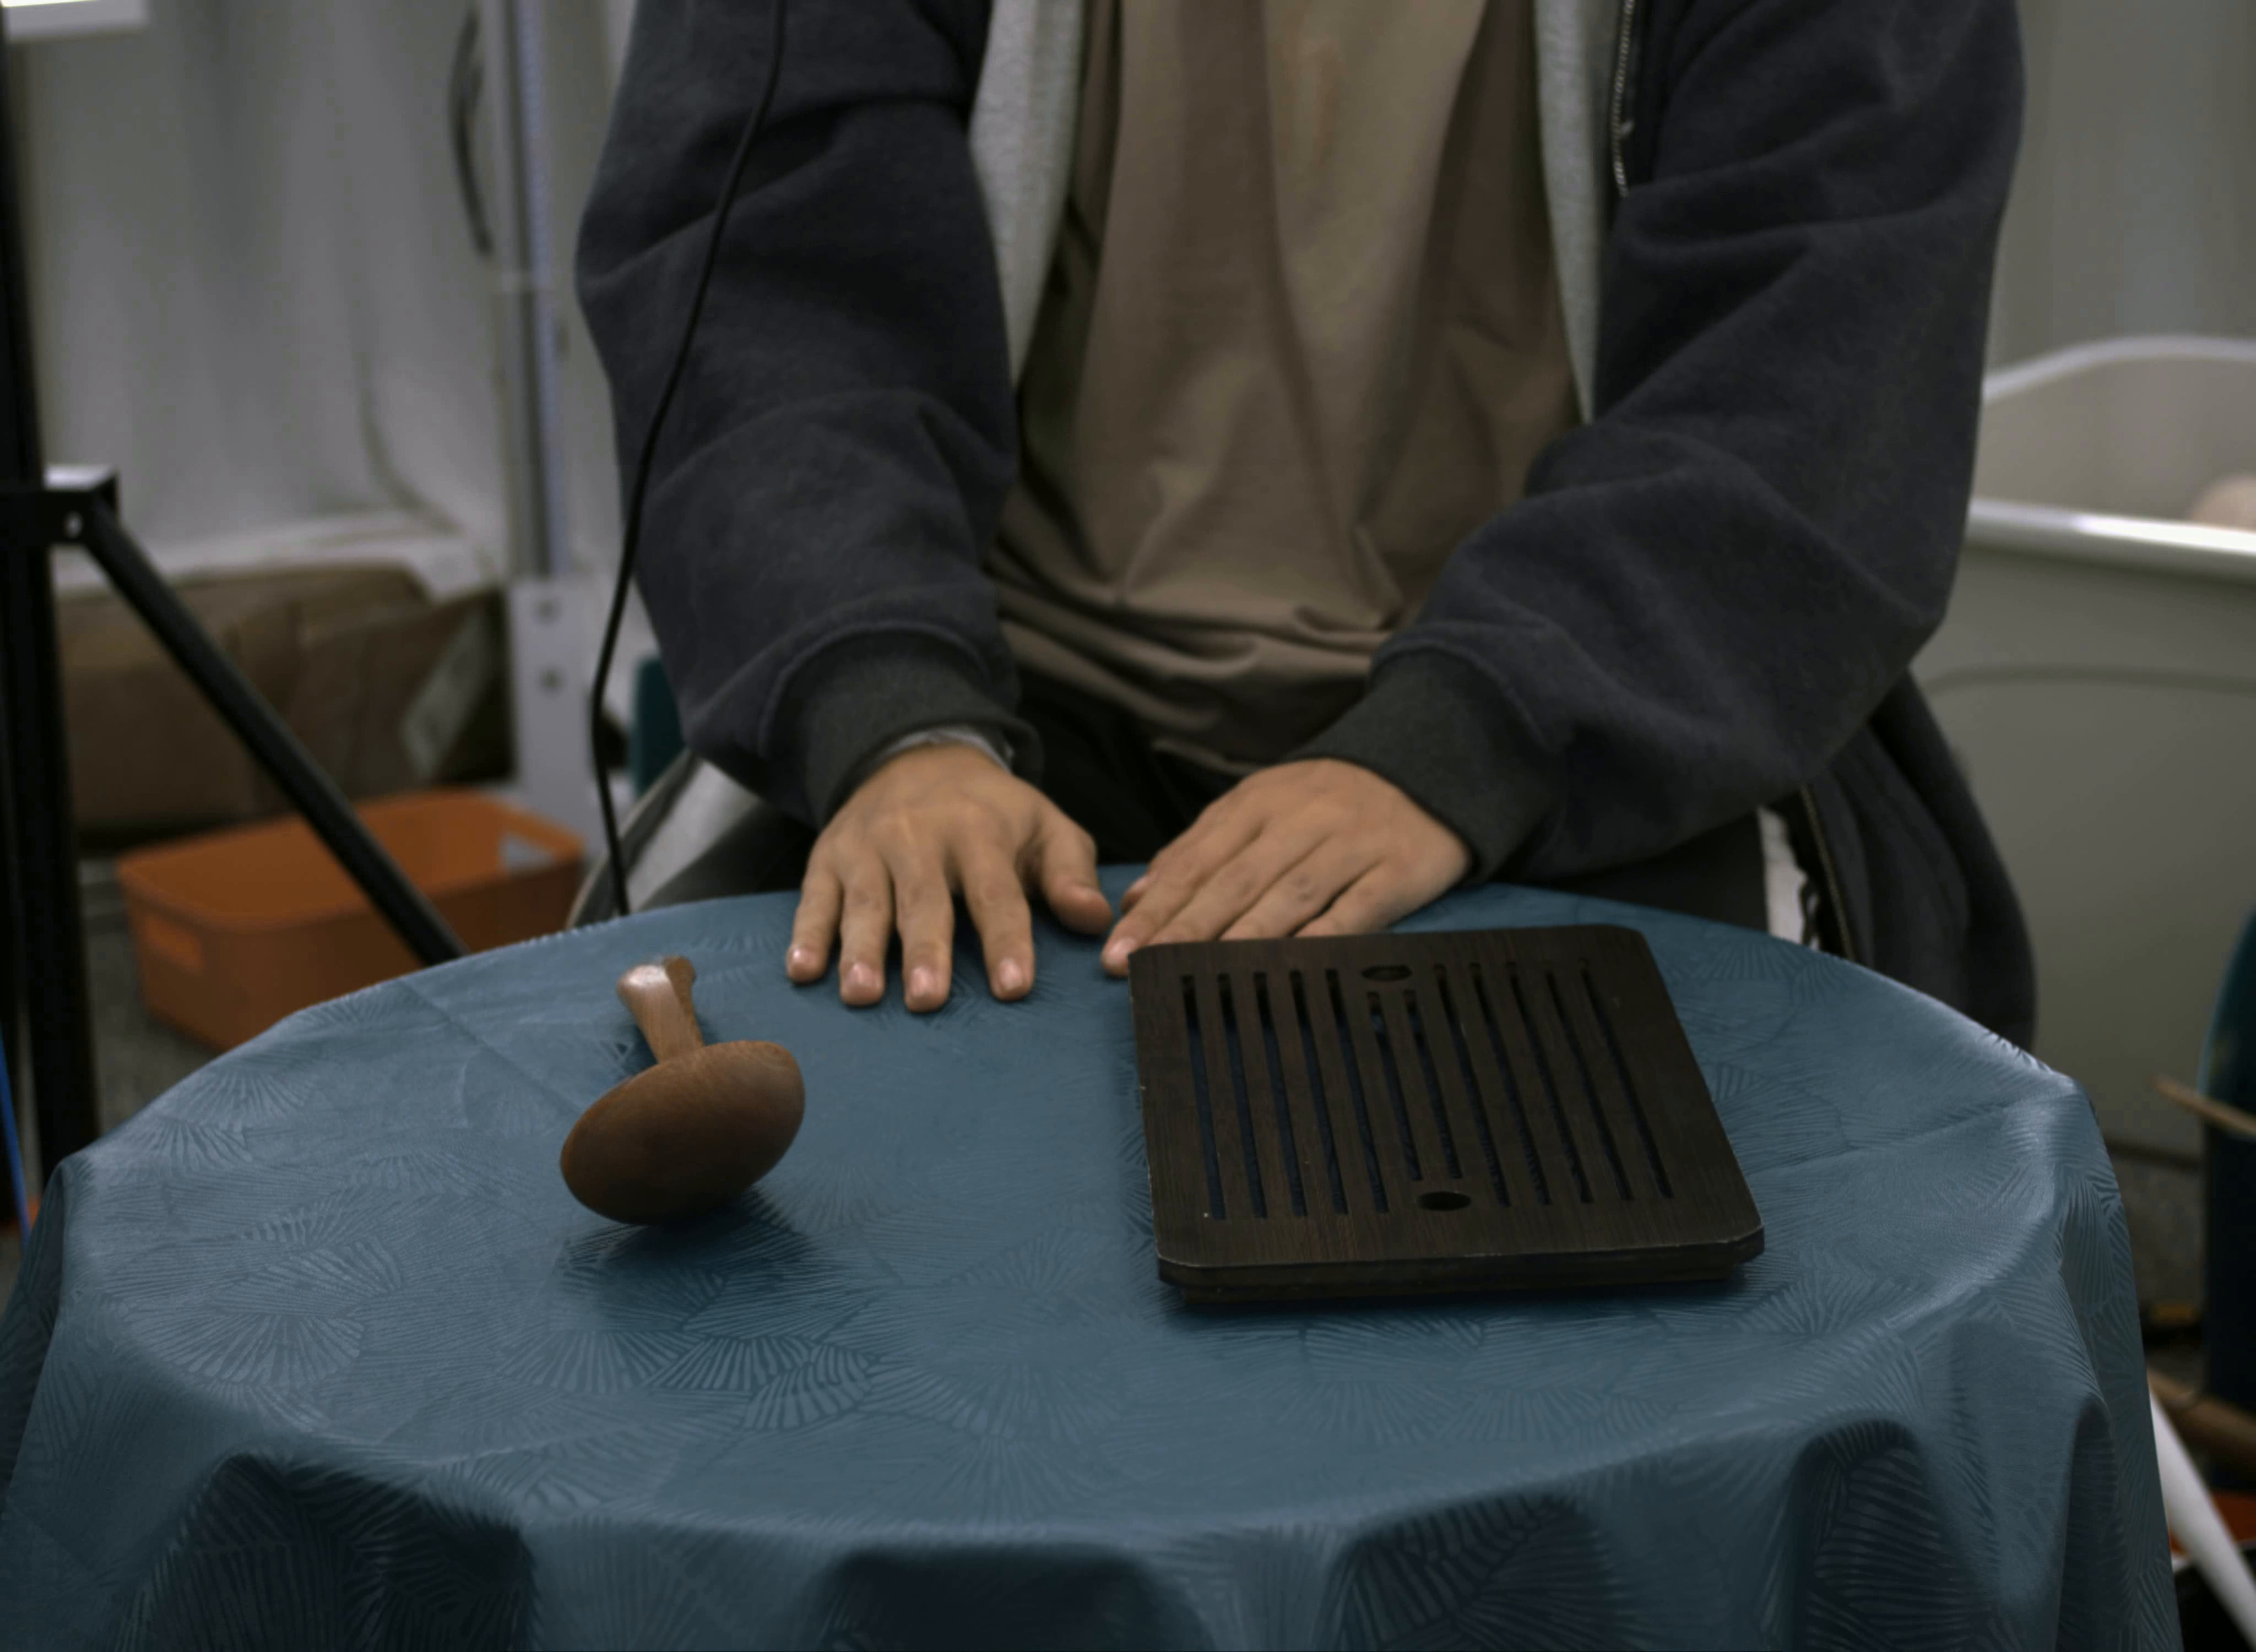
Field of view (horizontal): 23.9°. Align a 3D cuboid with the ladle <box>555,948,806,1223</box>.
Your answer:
[{"bbox_3d":[-0.142,0.062,1.630,0.076,0.065,0.263,-23,18,-2],"label":"ladle"}]

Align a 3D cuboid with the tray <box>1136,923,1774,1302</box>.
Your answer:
[{"bbox_3d":[0.091,0.084,1.598,0.169,0.018,0.307,-3,16,0],"label":"tray"}]
